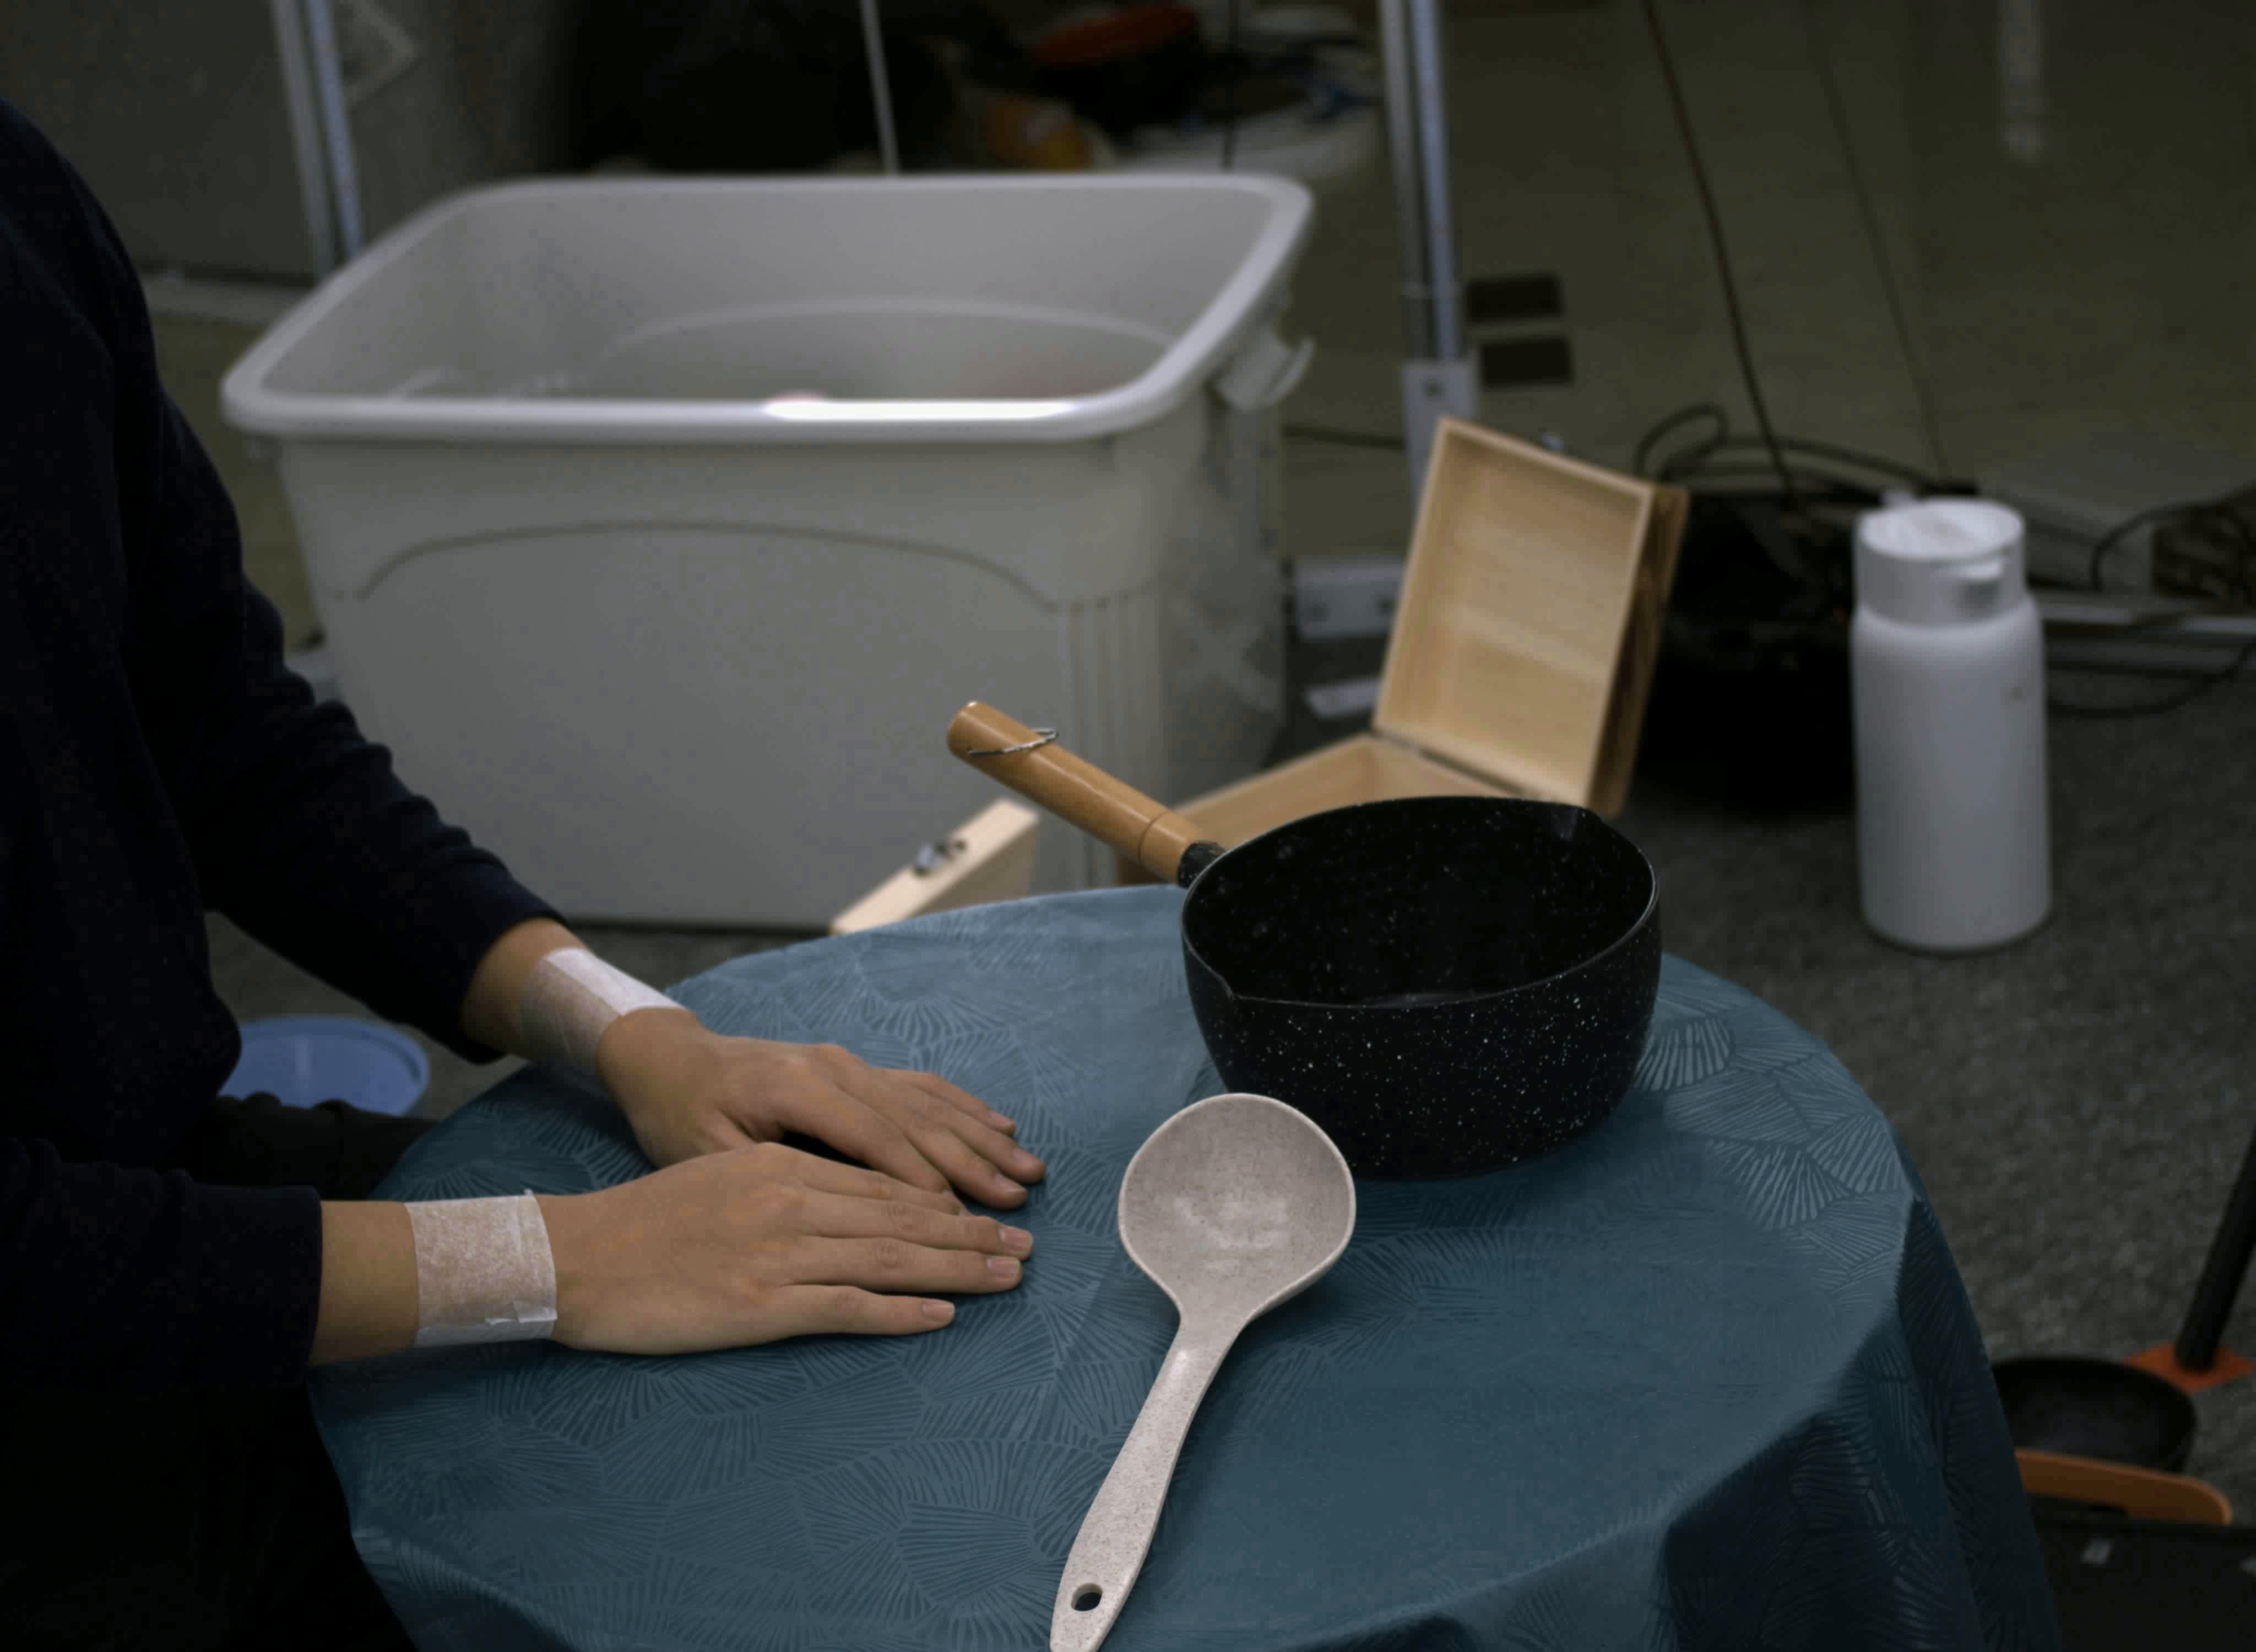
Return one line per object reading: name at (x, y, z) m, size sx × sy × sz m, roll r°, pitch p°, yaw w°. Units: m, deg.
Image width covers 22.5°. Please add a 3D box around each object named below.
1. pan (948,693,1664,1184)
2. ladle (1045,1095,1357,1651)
pan at (0.056, 0.036, 2.223) m, size 0.340 × 0.110 × 0.205 m, roll 18°, pitch 36°, yaw 40°
ladle at (0.012, 0.184, 1.963) m, size 0.089 × 0.070 × 0.271 m, roll 5°, pitch 26°, yaw 14°
